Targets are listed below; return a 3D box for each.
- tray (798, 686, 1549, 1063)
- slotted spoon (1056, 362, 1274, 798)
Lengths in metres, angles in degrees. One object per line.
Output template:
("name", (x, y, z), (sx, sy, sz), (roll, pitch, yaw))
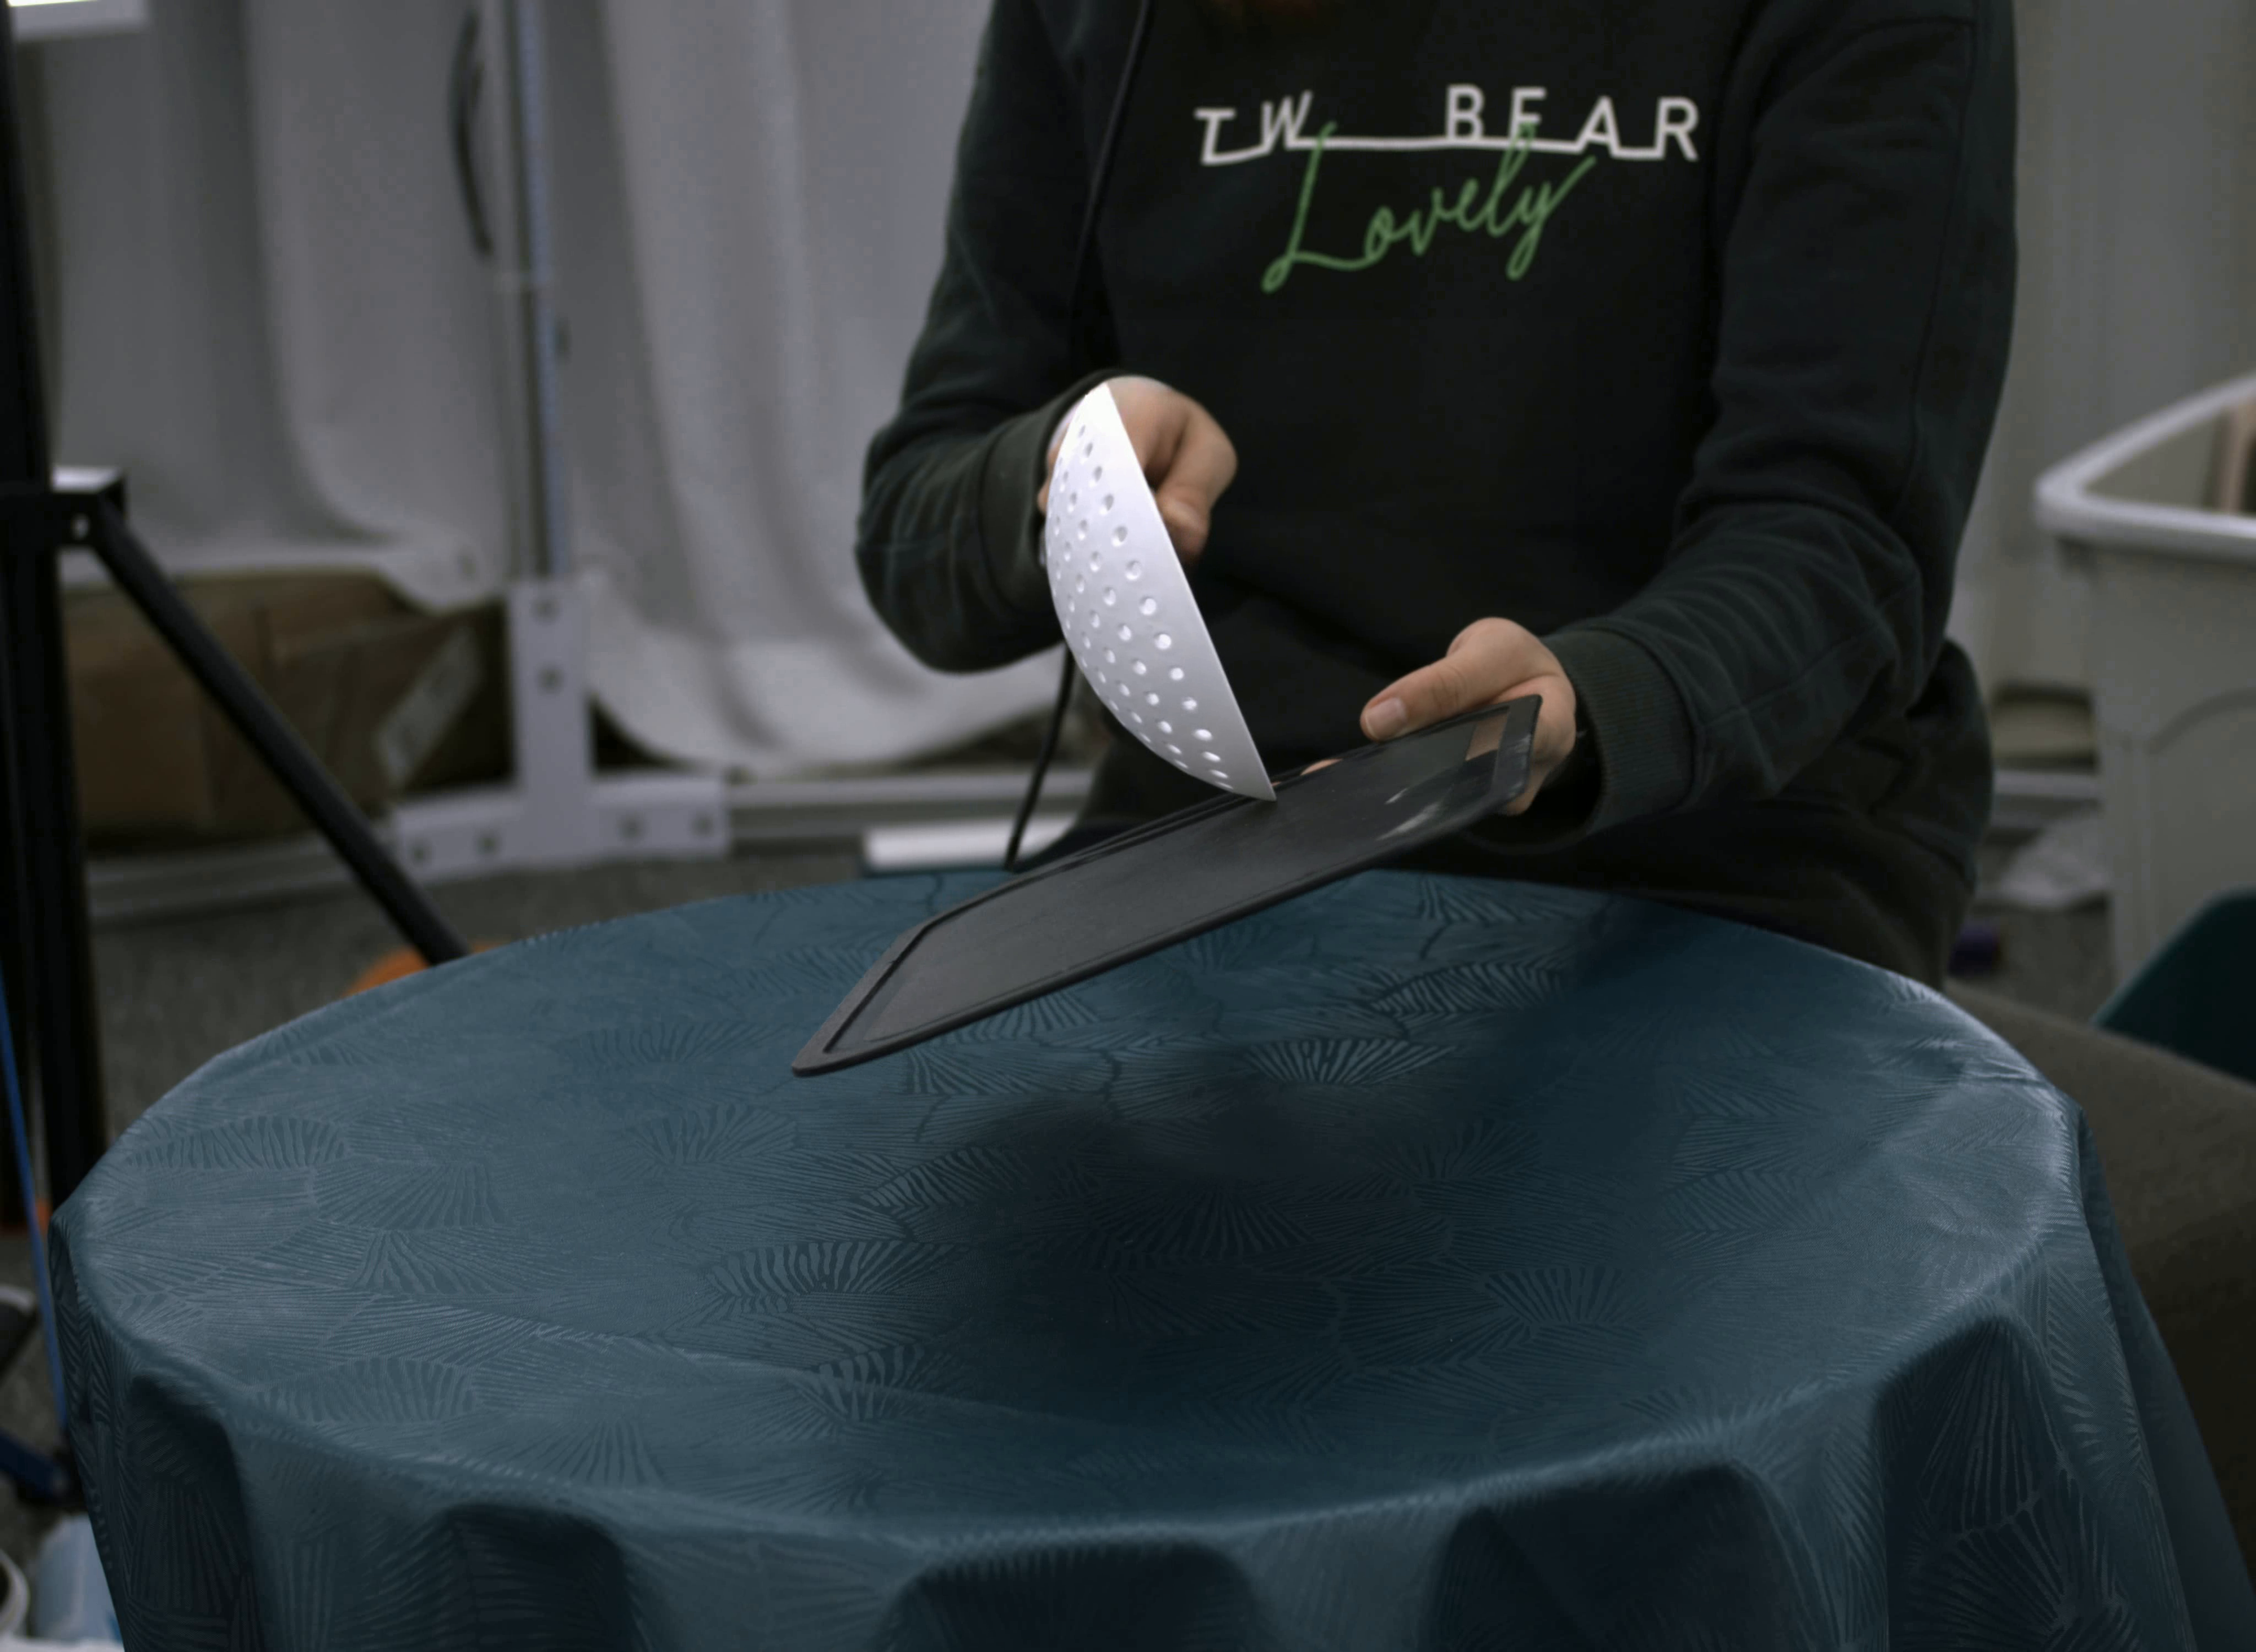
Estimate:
("tray", (0.019, 0.009, 1.503), (0.211, 0.010, 0.324), (-21, 5, 8))
("slotted spoon", (0.011, -0.084, 1.686), (0.046, 0.136, 0.349), (-19, 7, 6))
